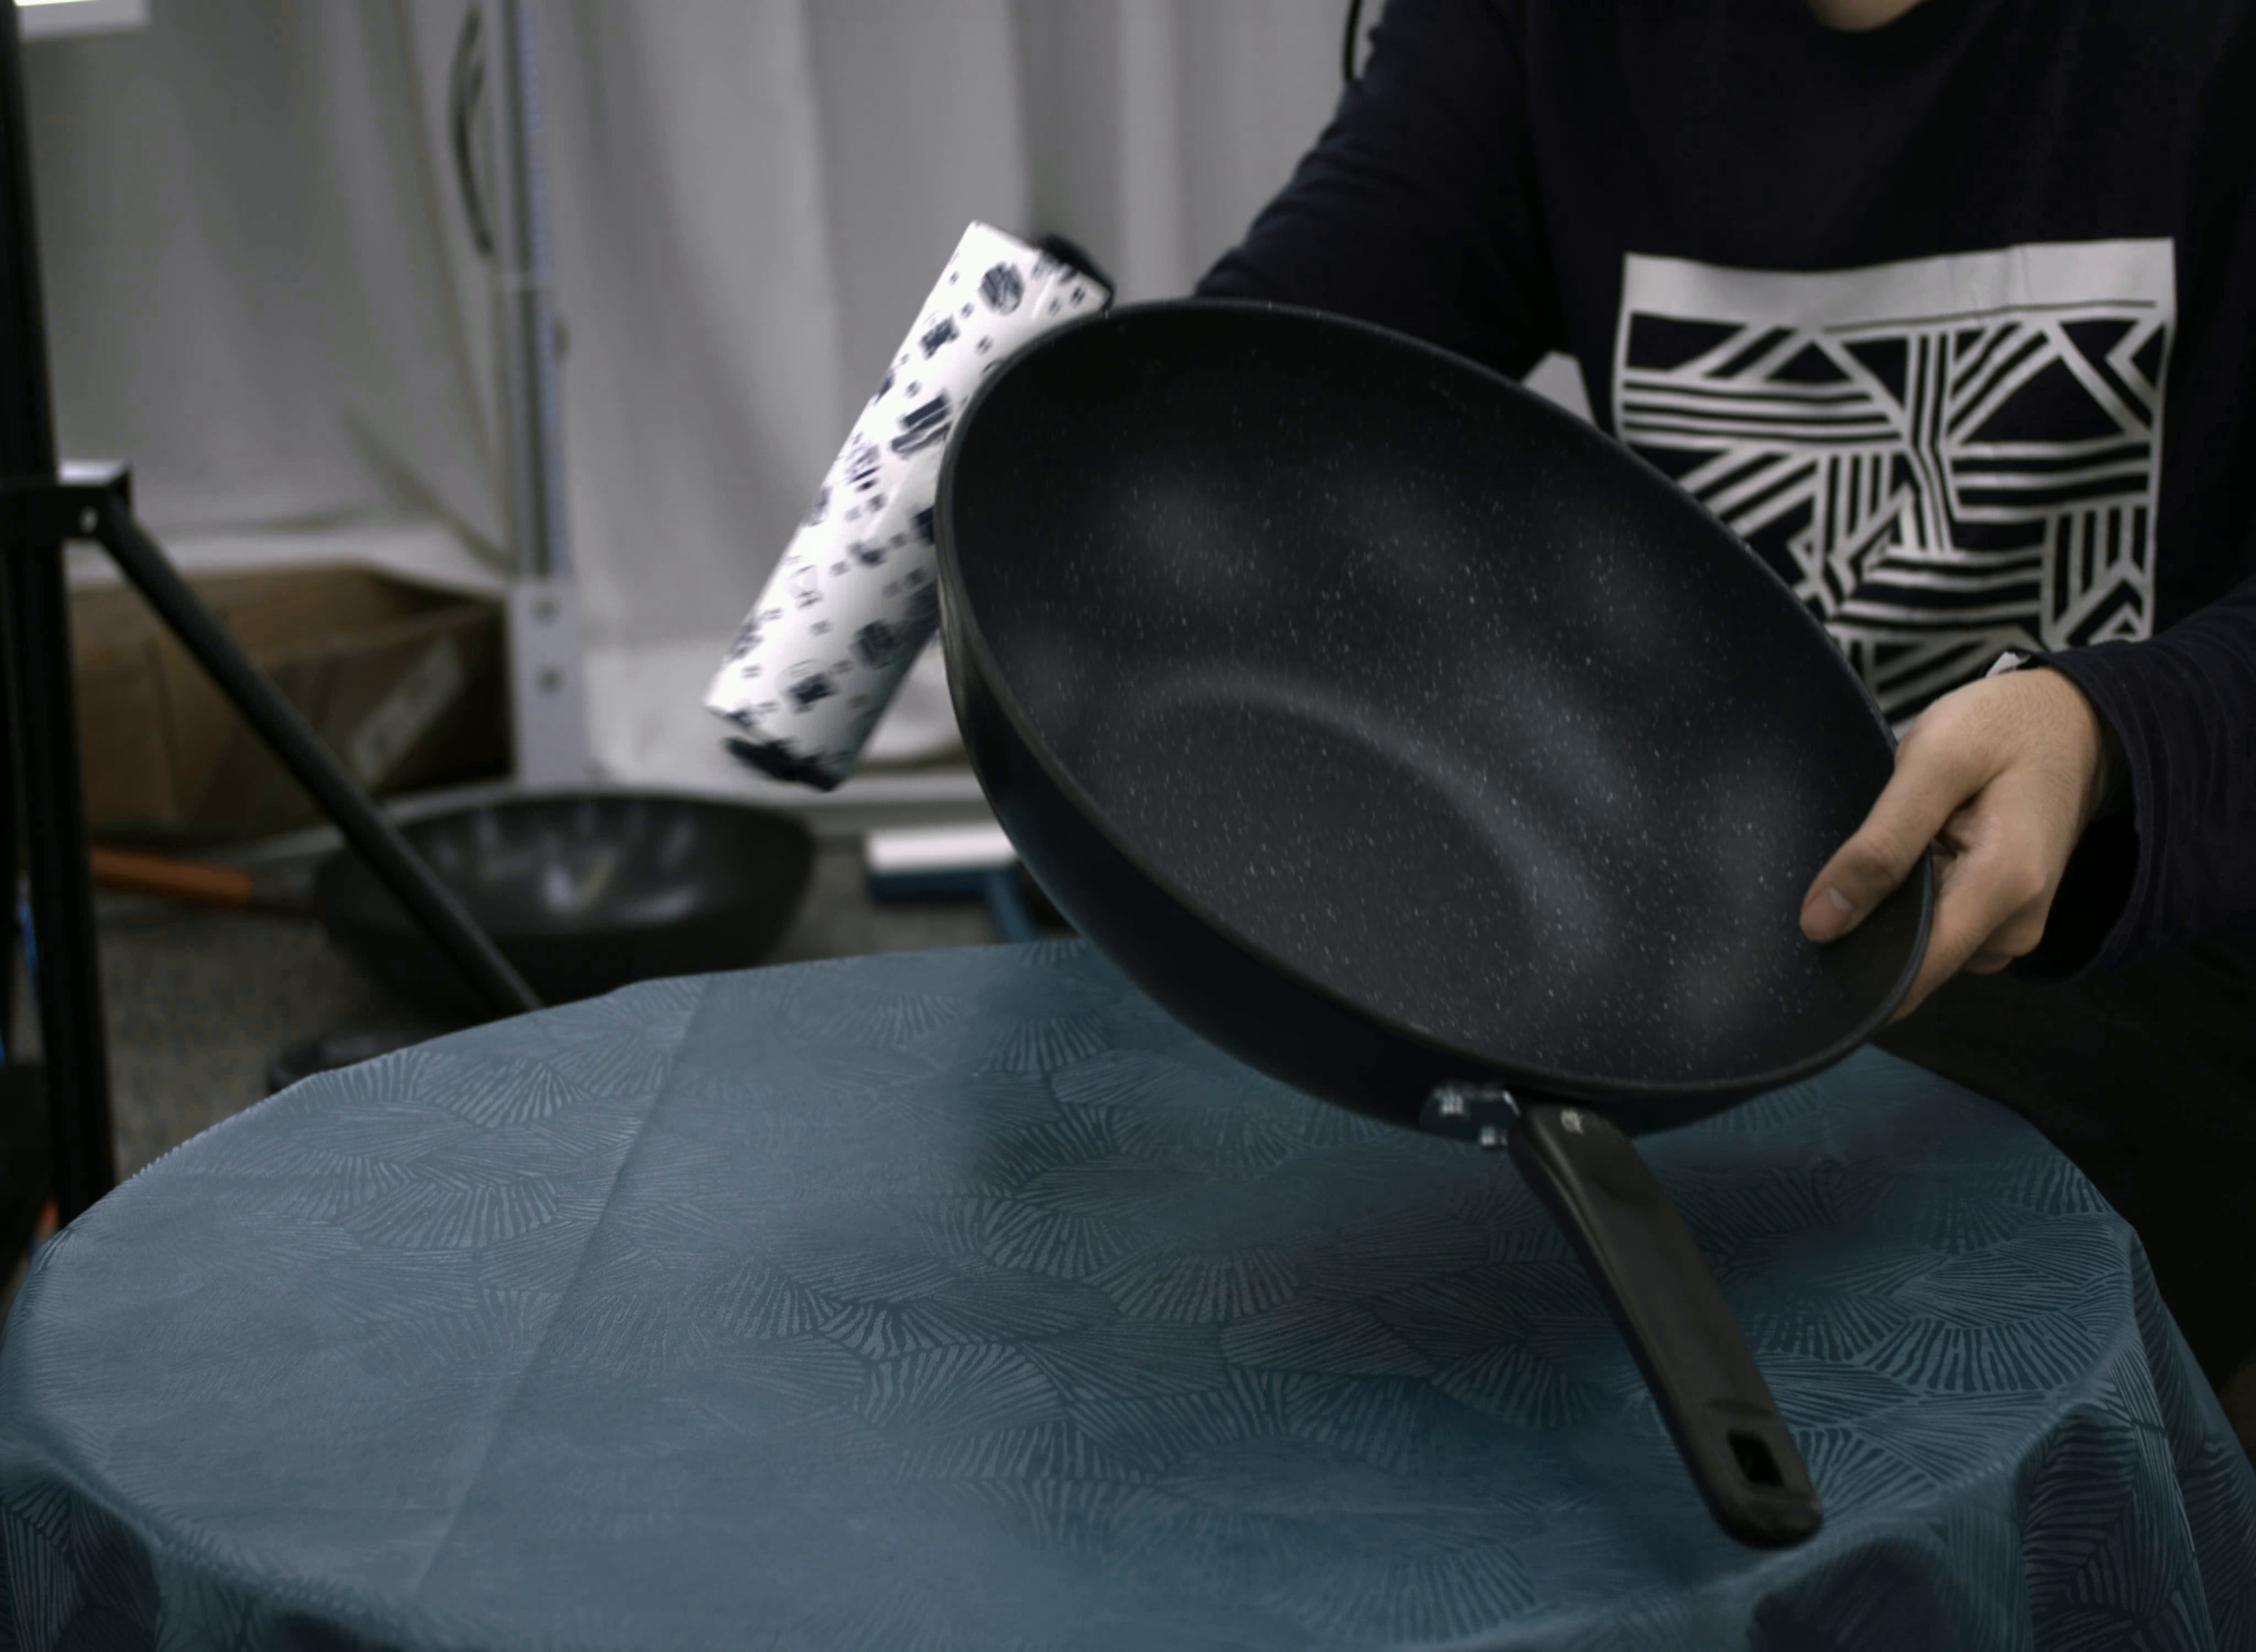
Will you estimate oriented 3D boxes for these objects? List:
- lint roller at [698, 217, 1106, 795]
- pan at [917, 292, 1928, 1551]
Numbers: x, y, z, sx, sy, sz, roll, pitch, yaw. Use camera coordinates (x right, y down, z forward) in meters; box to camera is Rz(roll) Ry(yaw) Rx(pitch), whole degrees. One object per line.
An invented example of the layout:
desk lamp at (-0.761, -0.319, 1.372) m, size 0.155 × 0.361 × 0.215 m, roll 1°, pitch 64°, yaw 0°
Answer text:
lint roller at (-0.045, -0.079, 1.643) m, size 0.051 × 0.177 × 0.244 m, roll 30°, pitch -1°, yaw 15°
pan at (0.090, 0.035, 1.434) m, size 0.304 × 0.112 × 0.484 m, roll 10°, pitch 41°, yaw -22°
